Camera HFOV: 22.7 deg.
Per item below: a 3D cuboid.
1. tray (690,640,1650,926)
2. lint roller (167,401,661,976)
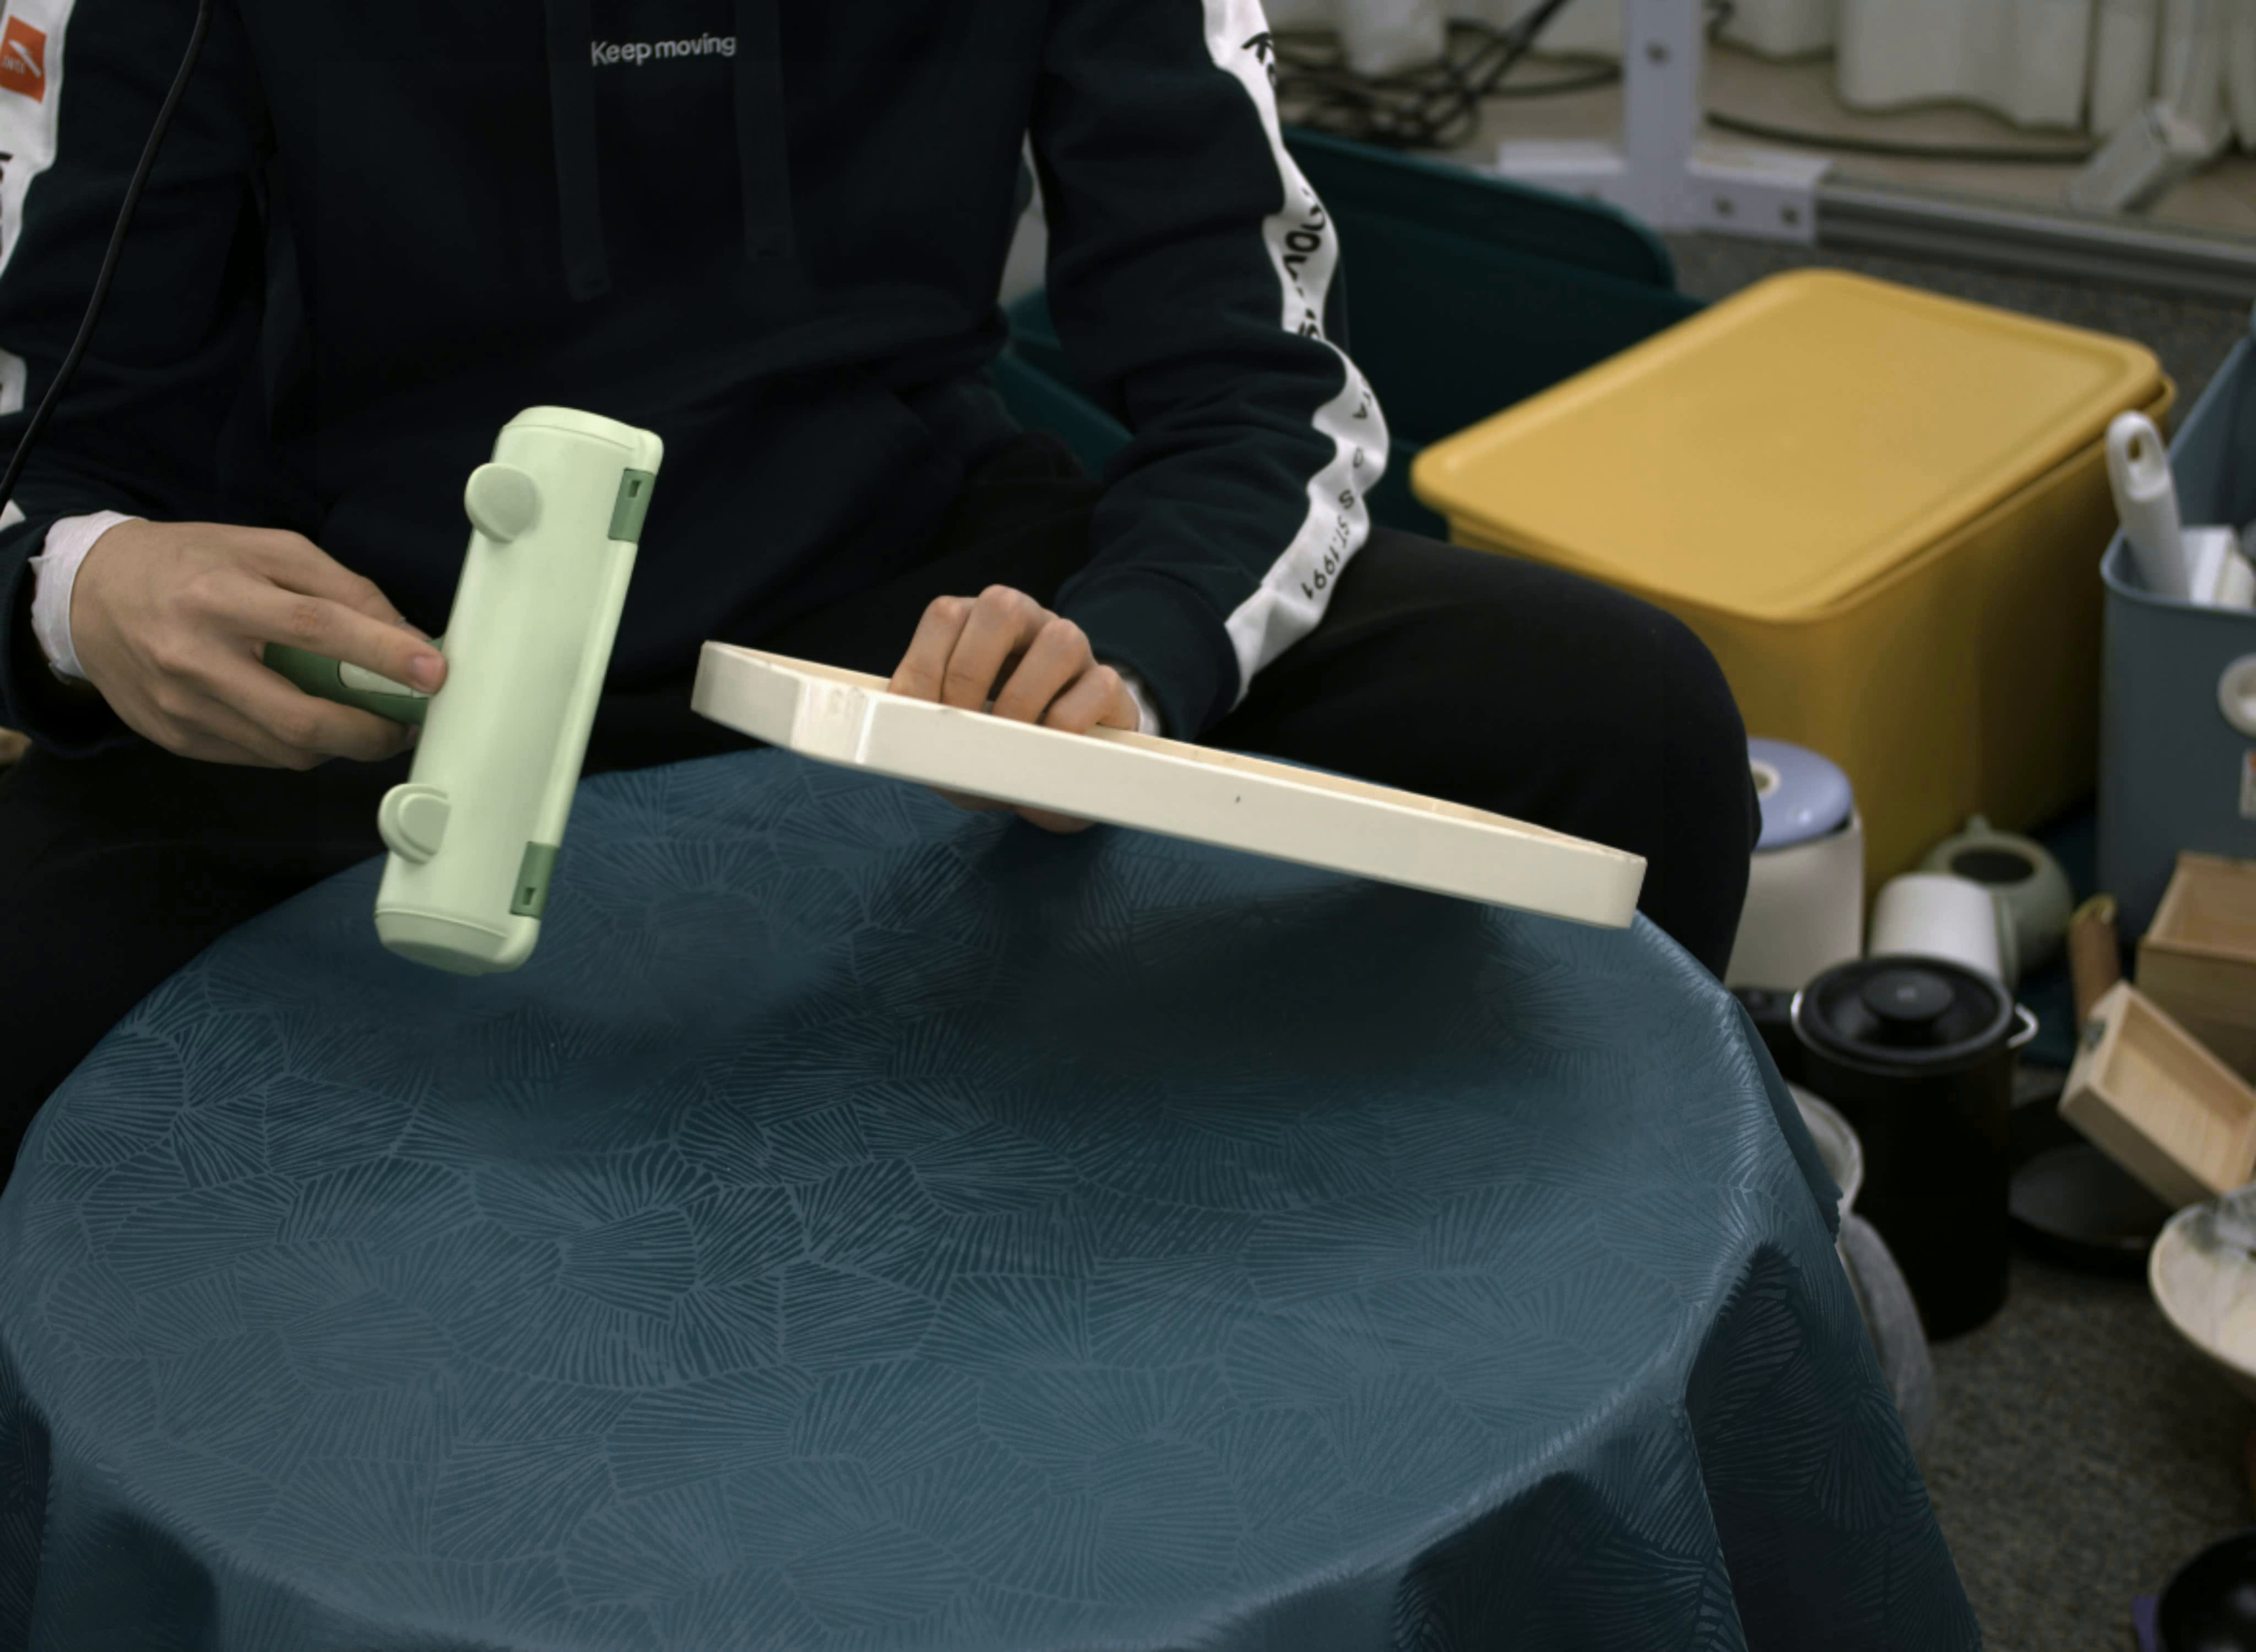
[{"bbox_3d":[0.011,-0.014,1.921,0.299,0.027,0.191,13,1,-18],"label":"tray"},{"bbox_3d":[-0.264,-0.056,1.946,0.182,0.201,0.081,8,-15,18],"label":"lint roller"}]
